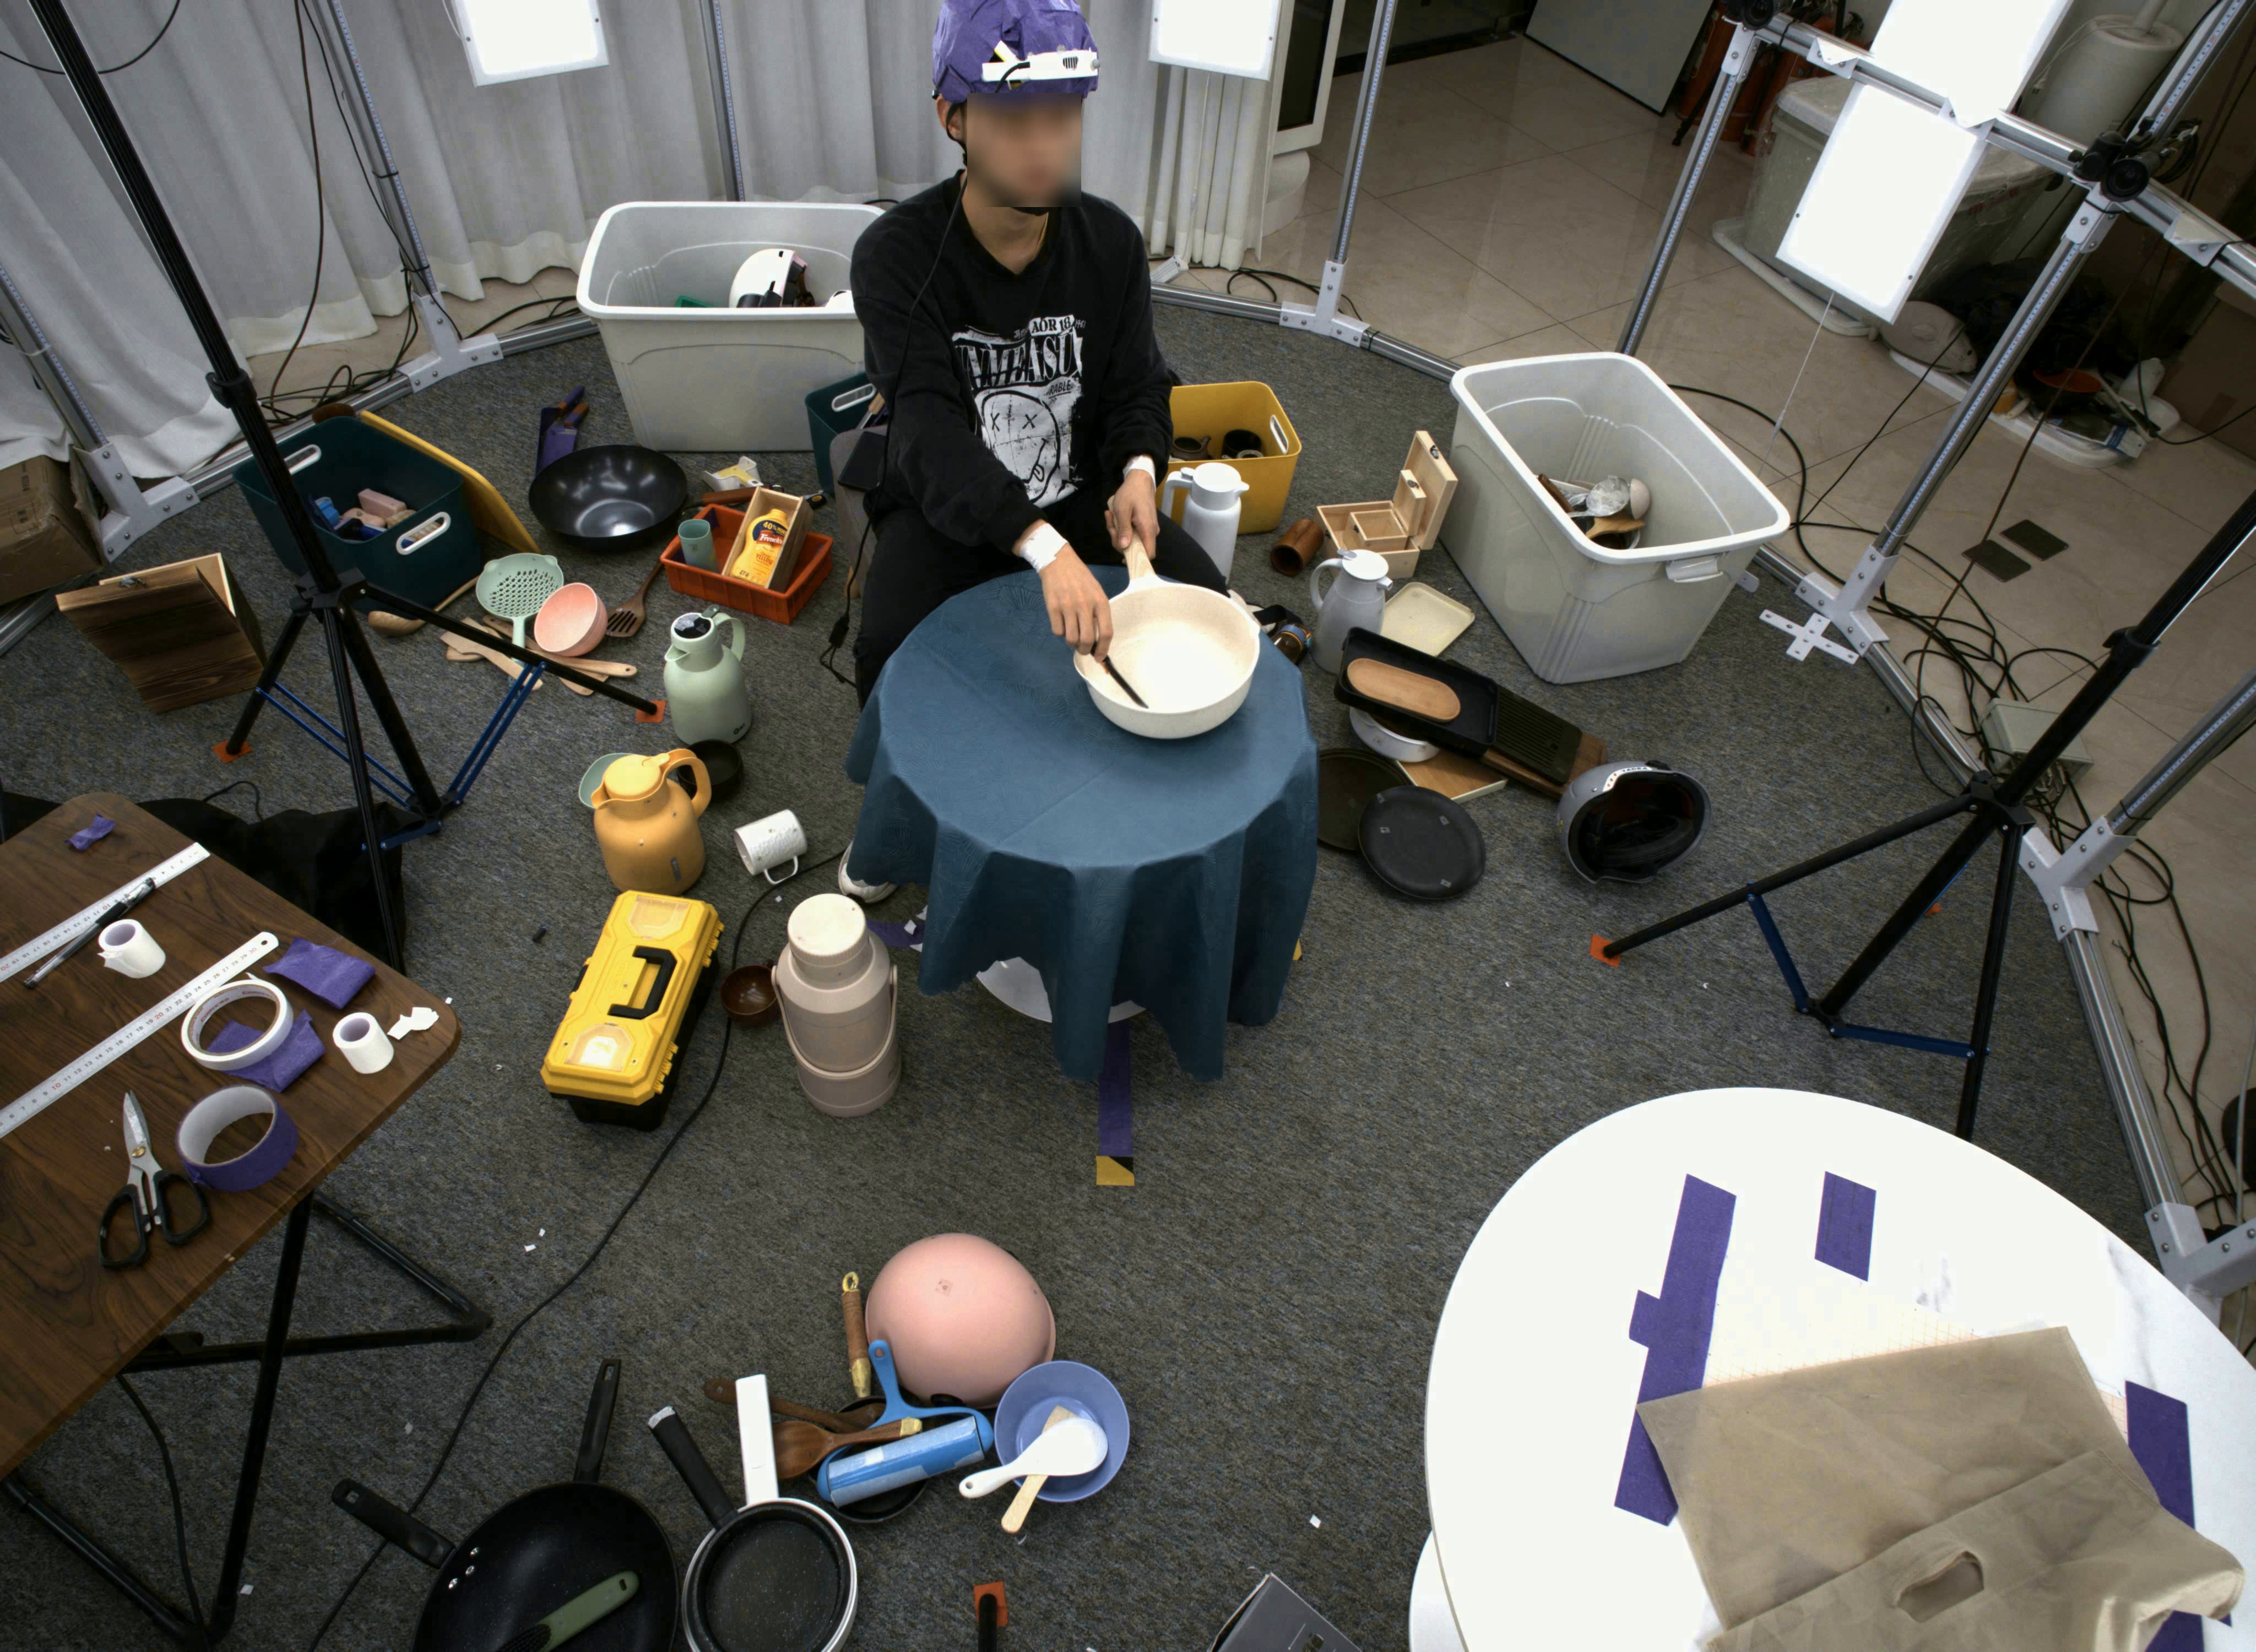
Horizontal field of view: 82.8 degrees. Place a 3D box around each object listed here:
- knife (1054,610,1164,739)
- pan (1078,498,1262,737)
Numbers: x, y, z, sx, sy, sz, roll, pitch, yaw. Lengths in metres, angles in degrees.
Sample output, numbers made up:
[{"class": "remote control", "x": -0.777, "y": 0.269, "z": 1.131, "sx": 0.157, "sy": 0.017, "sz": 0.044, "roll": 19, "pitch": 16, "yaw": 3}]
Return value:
[{"class": "knife", "x": -0.023, "y": -0.207, "z": 1.756, "sx": 0.225, "sy": 0.026, "sz": 0.017, "roll": 48, "pitch": 50, "yaw": -5}, {"class": "pan", "x": 0.039, "y": -0.302, "z": 1.856, "sx": 0.263, "sy": 0.099, "sz": 0.446, "roll": -14, "pitch": 51, "yaw": -5}]
